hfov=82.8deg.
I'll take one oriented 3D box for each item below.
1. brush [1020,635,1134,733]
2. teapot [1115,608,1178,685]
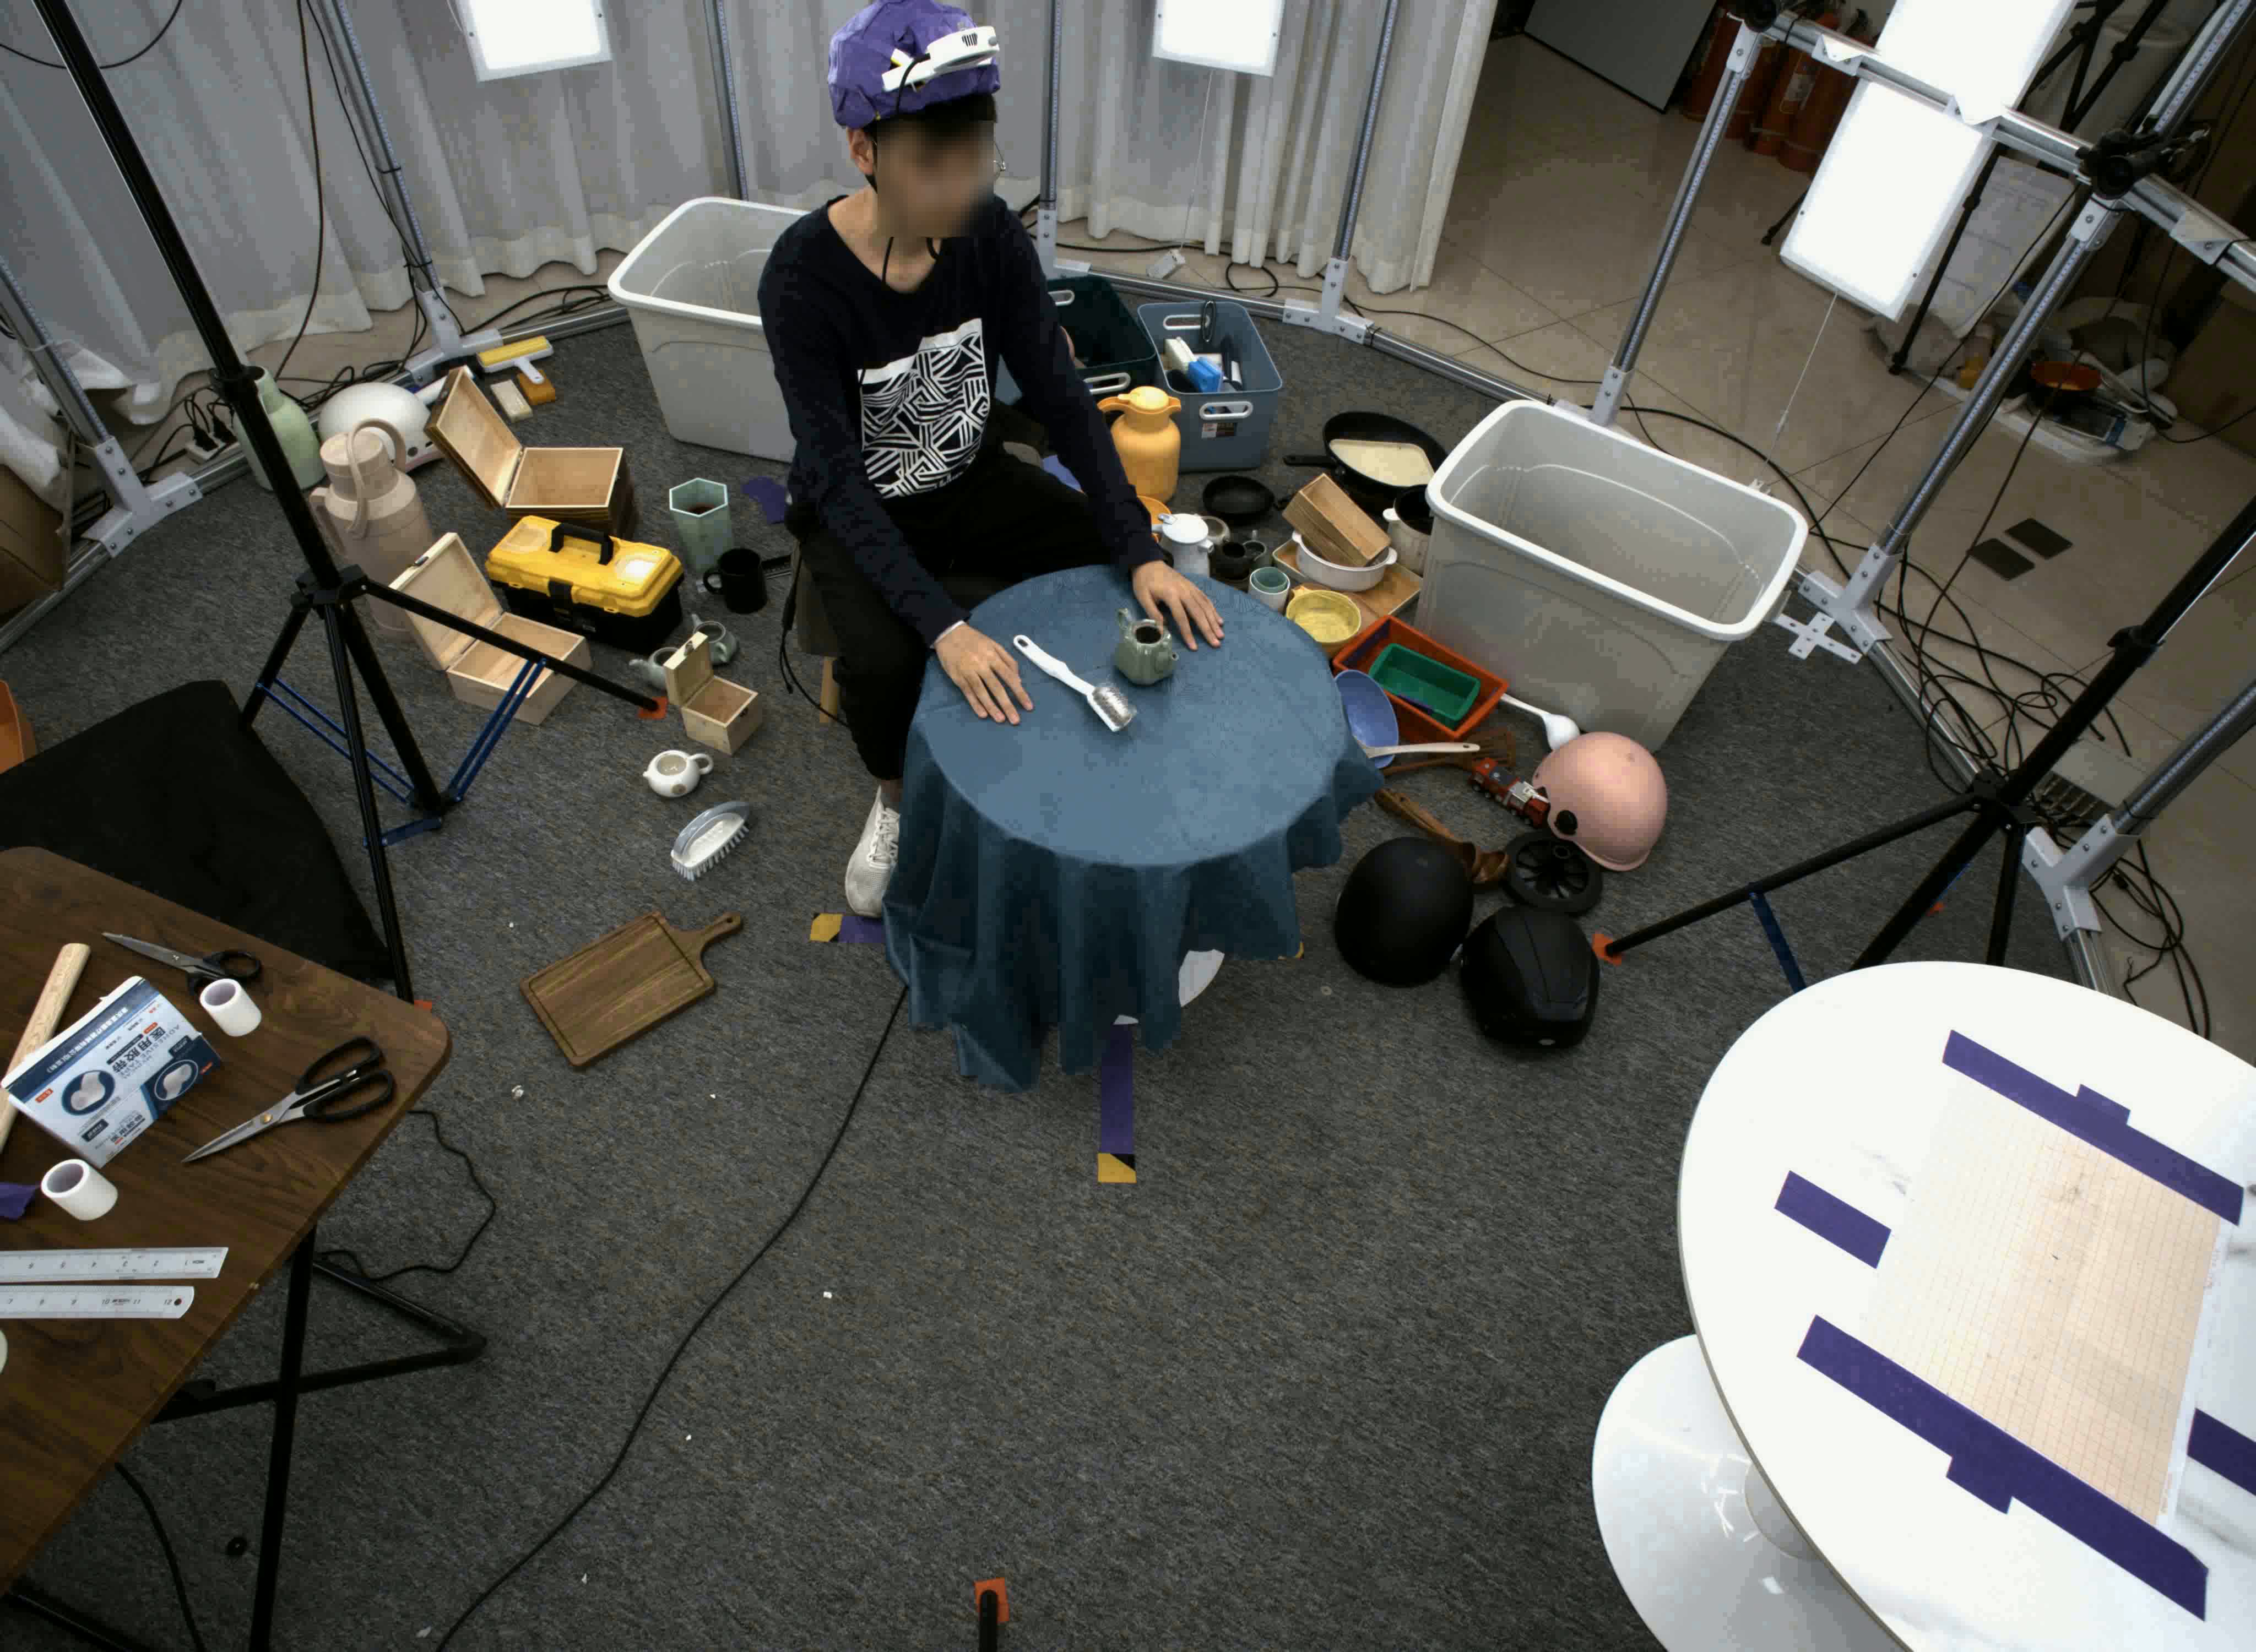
[{"bbox_3d":[-0.077,-0.216,1.821,0.034,0.049,0.248,-32,57,-22],"label":"brush"},{"bbox_3d":[0.026,-0.253,1.843,0.080,0.073,0.135,-29,56,-26],"label":"teapot"}]
